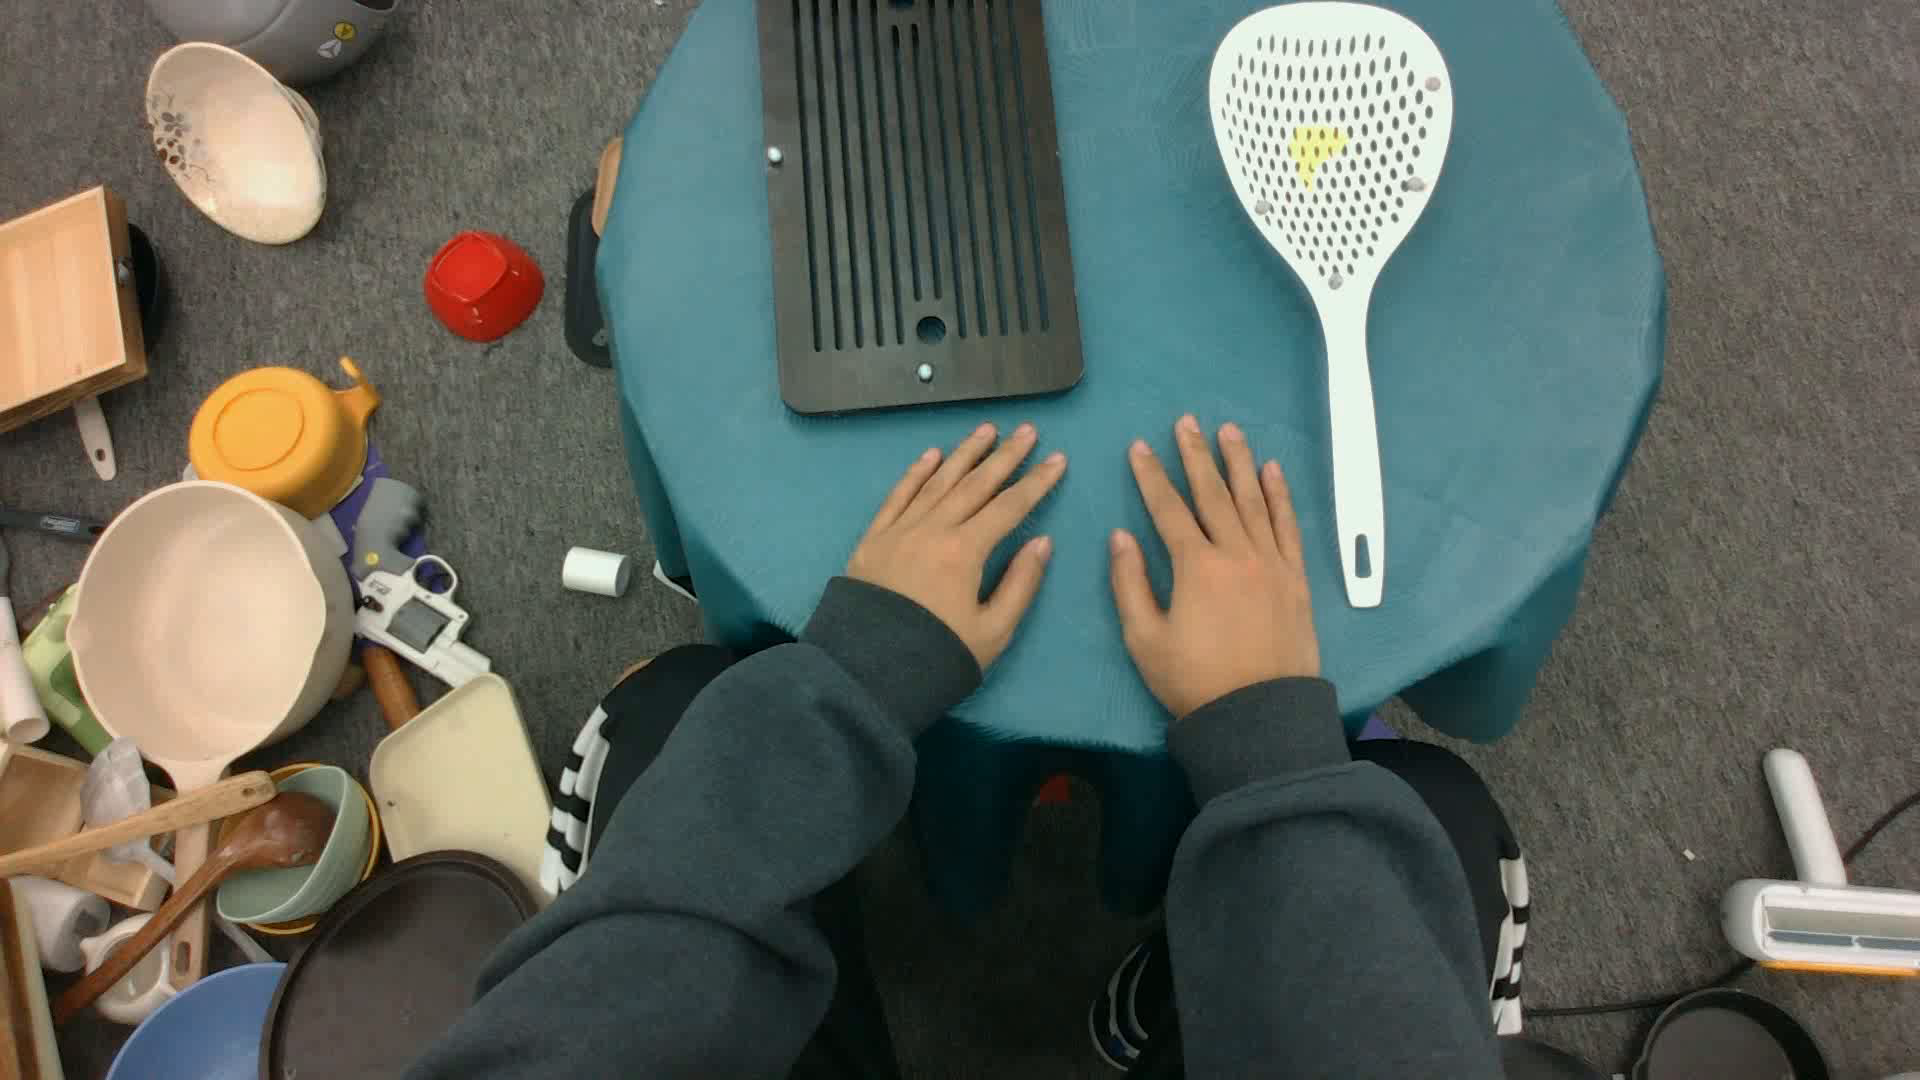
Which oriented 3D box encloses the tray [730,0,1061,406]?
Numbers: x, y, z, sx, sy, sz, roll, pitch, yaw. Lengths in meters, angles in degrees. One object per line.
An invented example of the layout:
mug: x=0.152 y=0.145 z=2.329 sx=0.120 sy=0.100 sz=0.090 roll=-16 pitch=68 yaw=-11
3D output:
tray: x=-0.042 y=-0.225 z=0.799 sx=0.170 sy=0.018 sz=0.306 roll=-6 pitch=73 yaw=-1

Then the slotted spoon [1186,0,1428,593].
slotted spoon: x=0.199 y=-0.145 z=0.761 sx=0.137 sy=0.050 sz=0.349 roll=-2 pitch=73 yaw=-2
